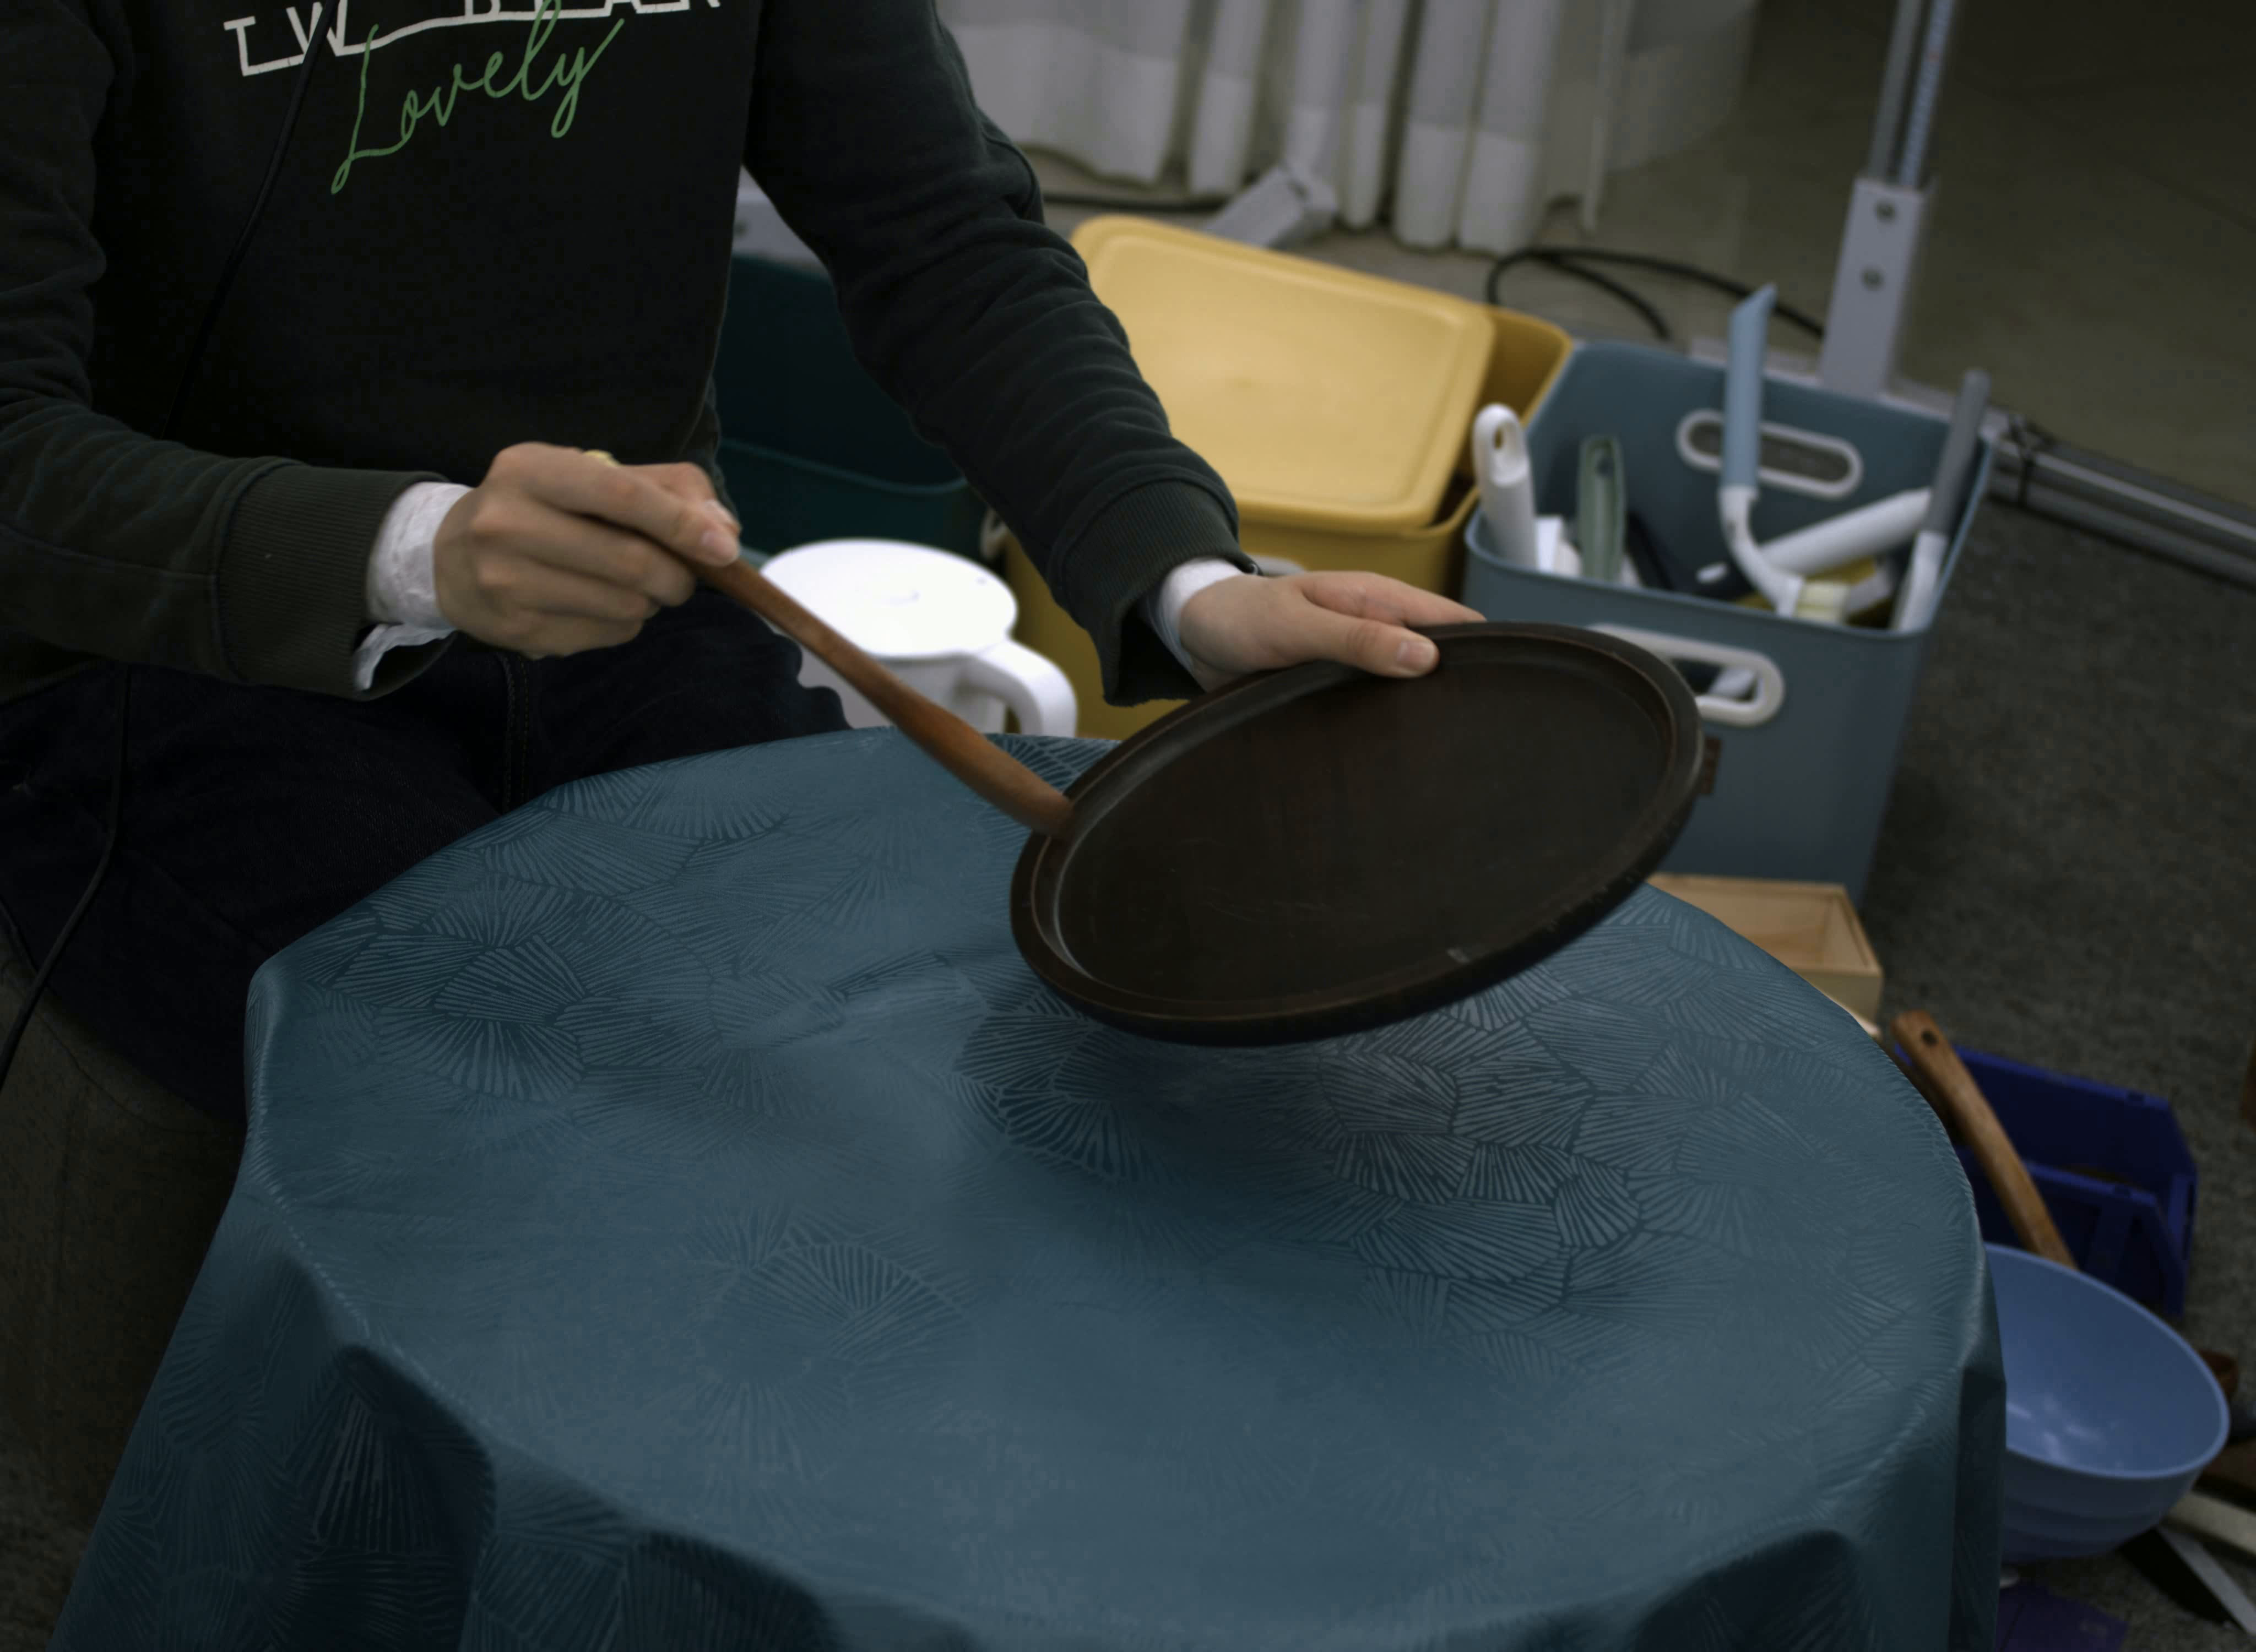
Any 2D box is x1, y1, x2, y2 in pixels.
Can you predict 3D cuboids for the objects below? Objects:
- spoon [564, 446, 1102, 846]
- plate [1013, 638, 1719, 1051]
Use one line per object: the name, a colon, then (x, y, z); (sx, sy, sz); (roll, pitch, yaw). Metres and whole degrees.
spoon: (-0.098, -0.056, 1.762); (0.215, 0.017, 0.075); (37, 4, -2)
plate: (0.083, 0.005, 1.859); (0.254, 0.029, 0.256); (-14, 28, 7)
